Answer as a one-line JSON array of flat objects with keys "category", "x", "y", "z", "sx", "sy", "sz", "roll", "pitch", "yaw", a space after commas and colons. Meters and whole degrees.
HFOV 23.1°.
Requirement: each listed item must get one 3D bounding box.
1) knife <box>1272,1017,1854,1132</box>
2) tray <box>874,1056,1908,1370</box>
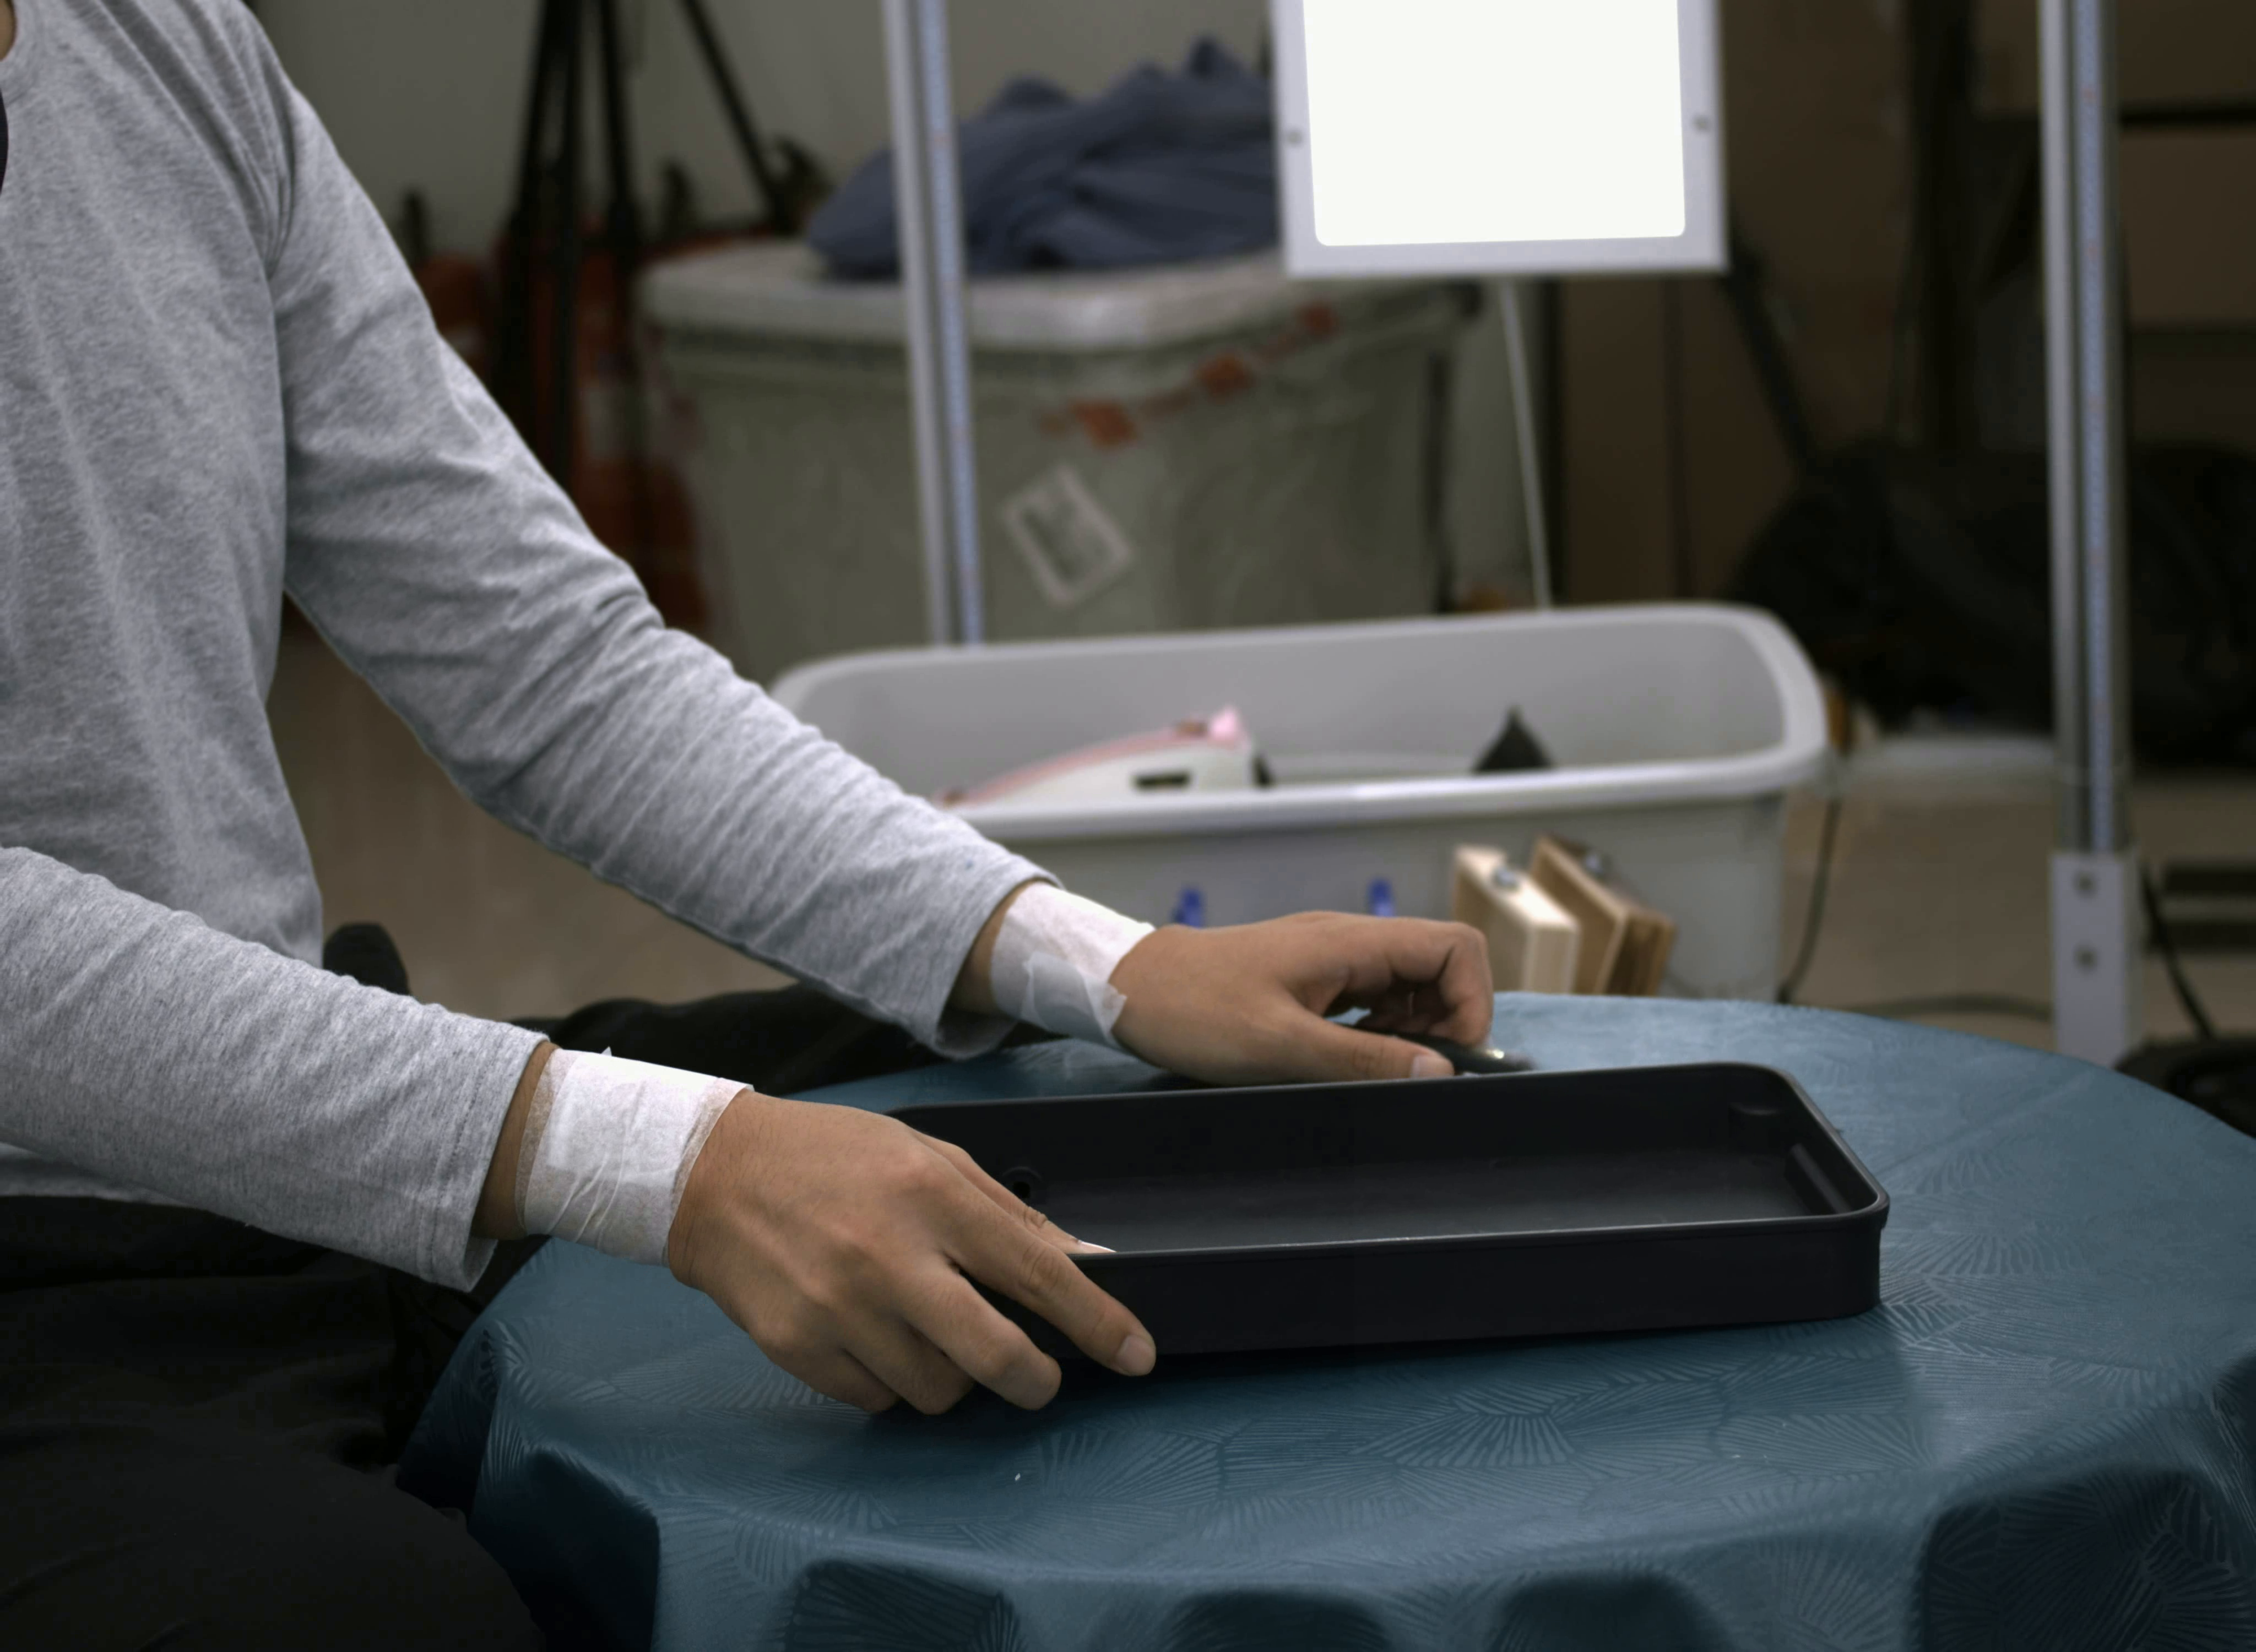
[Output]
[{"category": "knife", "x": 0.152, "y": 0.091, "z": 1.967, "sx": 0.243, "sy": 0.016, "sz": 0.024, "roll": 8, "pitch": 16, "yaw": 34}, {"category": "tray", "x": 0.081, "y": 0.123, "z": 1.783, "sx": 0.316, "sy": 0.037, "sz": 0.184, "roll": -4, "pitch": 13, "yaw": -4}]
